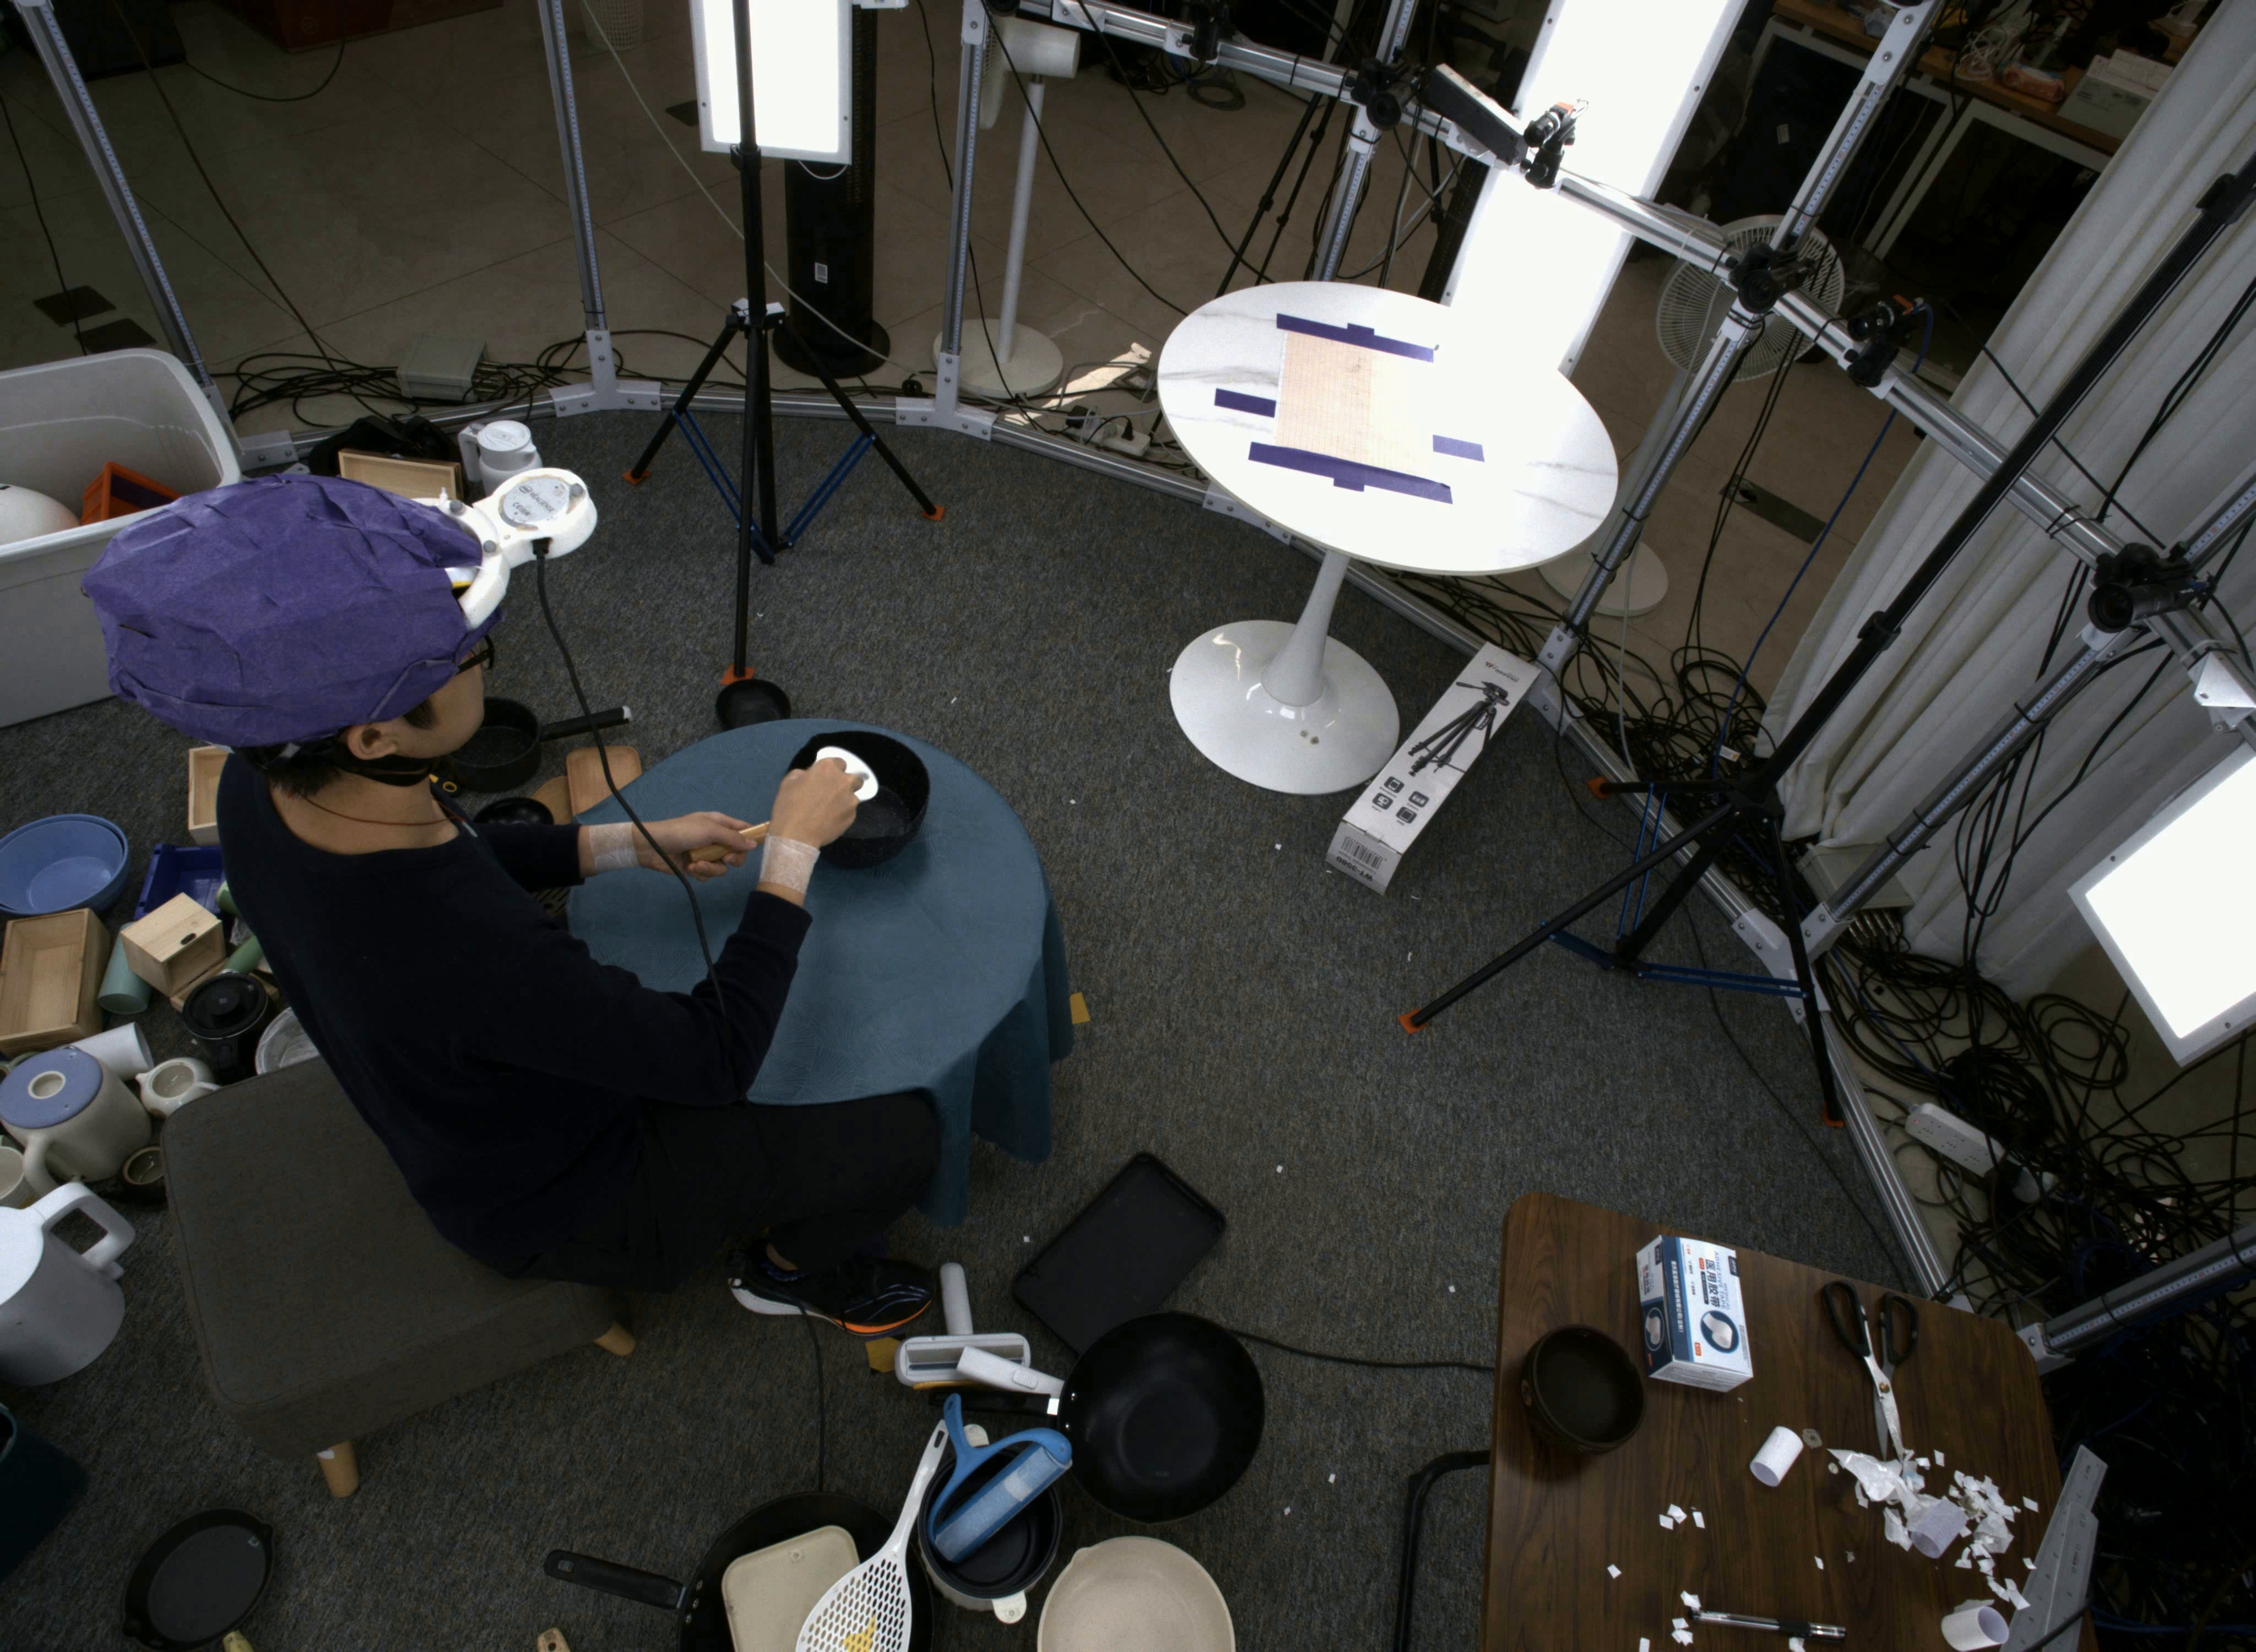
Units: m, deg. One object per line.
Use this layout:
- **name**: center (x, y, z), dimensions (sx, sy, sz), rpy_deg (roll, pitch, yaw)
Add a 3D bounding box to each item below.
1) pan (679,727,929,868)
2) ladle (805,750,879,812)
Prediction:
- **pan**: center (-0.410, -0.005, 1.644), dimensions (0.344, 0.110, 0.203), rpy_deg (-31, 67, -36)
- **ladle**: center (-0.343, -0.054, 1.543), dimensions (0.070, 0.290, 0.091), rpy_deg (-42, 96, -7)
